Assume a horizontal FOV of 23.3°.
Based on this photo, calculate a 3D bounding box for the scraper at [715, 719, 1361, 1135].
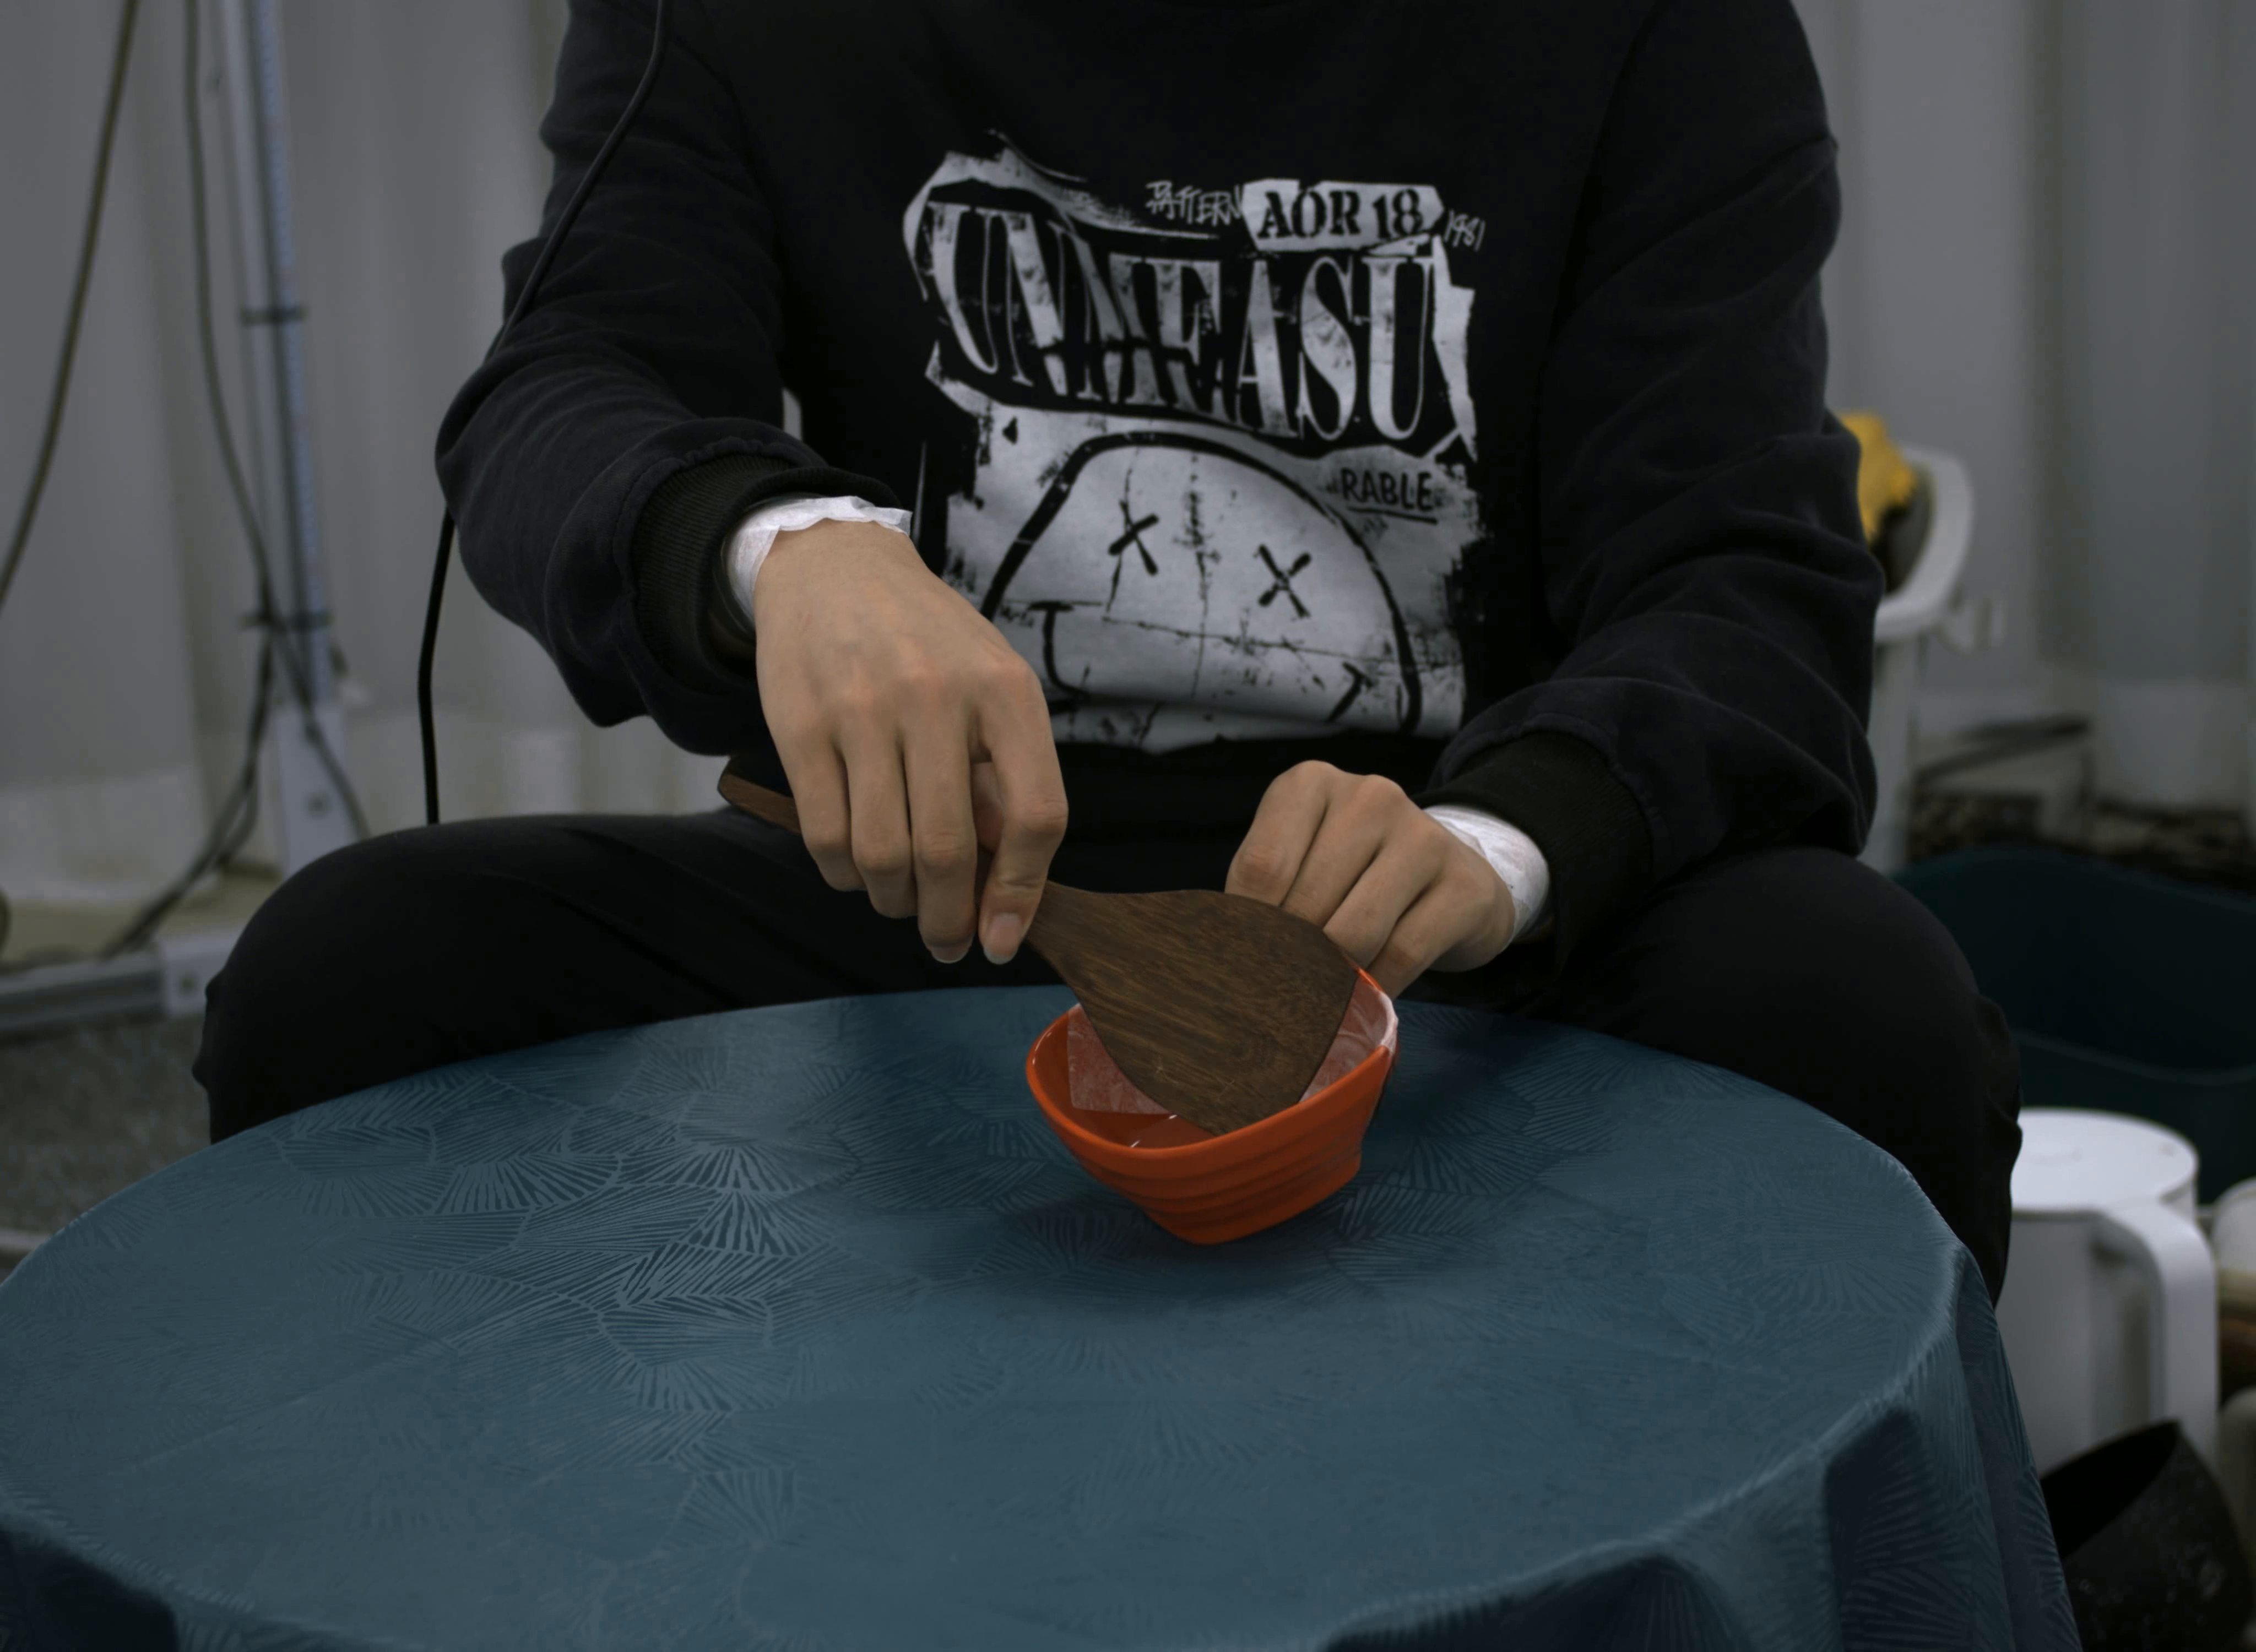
[{"bbox_3d":[-0.032,0.023,1.674,0.212,0.076,0.011,27,-15,12],"label":"scraper"}]

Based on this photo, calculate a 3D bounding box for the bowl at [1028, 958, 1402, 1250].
[{"bbox_3d":[0.031,0.087,1.681,0.118,0.051,0.120,-13,29,7],"label":"bowl"}]
